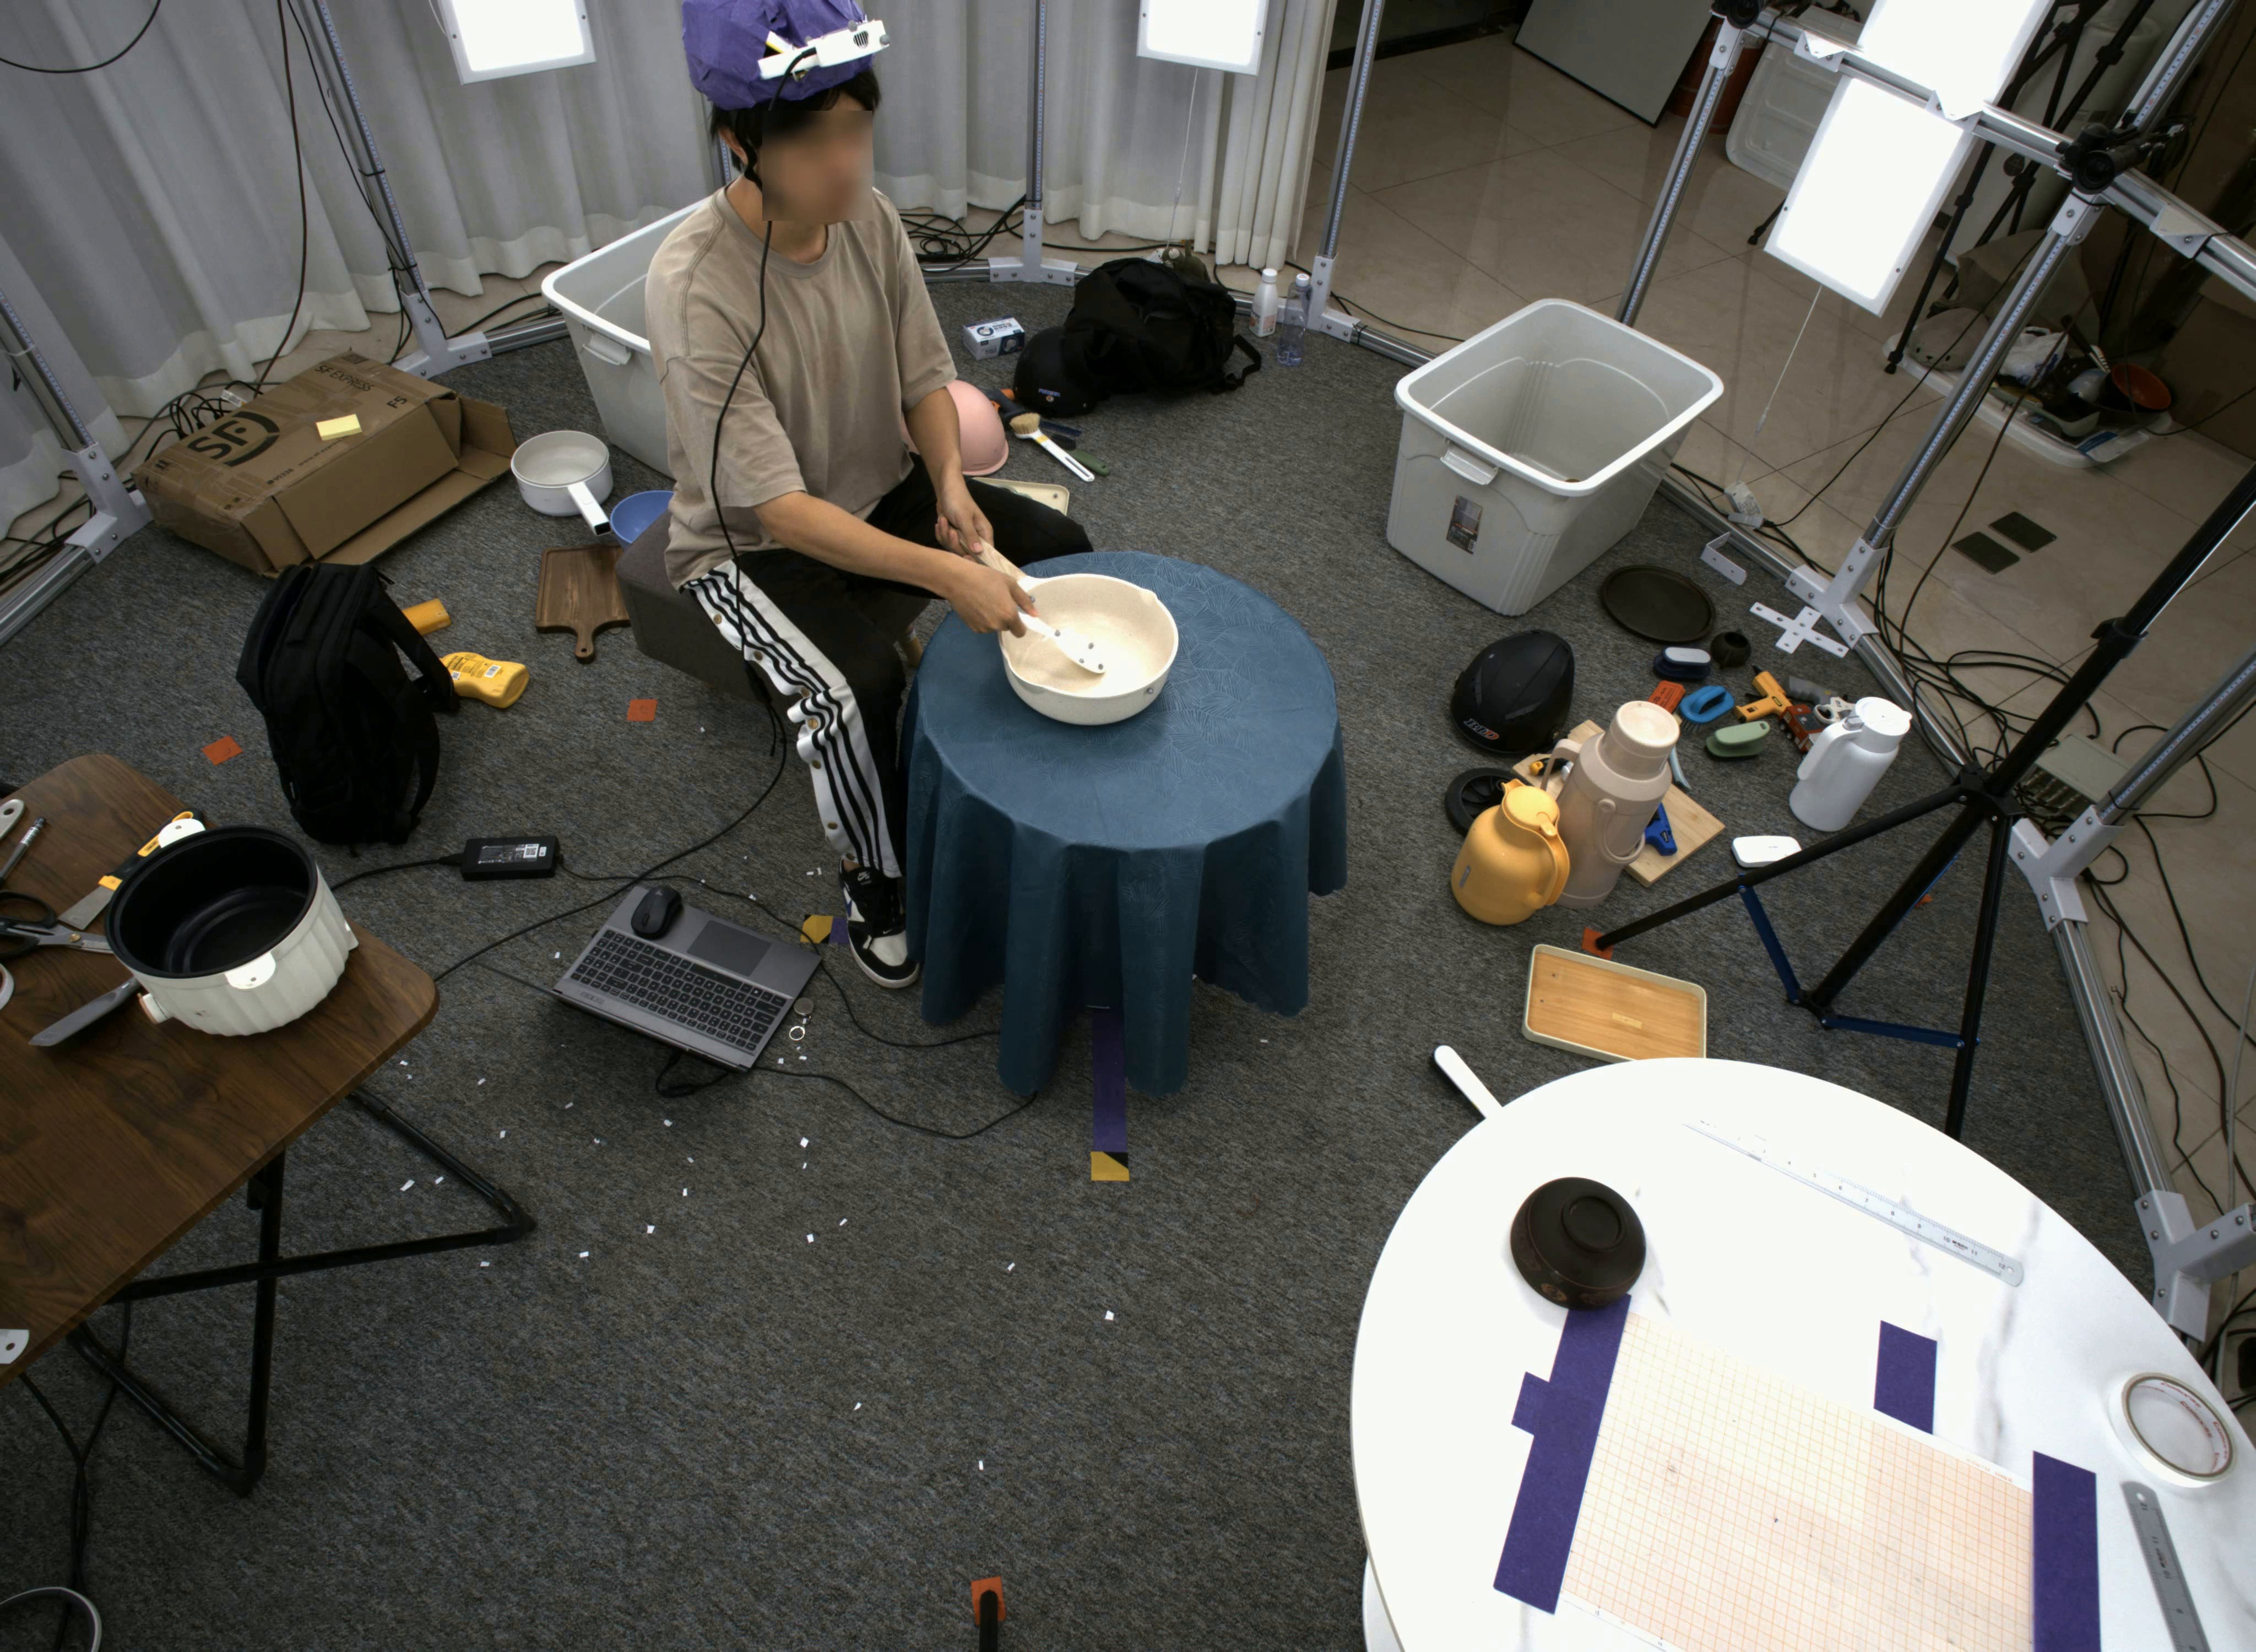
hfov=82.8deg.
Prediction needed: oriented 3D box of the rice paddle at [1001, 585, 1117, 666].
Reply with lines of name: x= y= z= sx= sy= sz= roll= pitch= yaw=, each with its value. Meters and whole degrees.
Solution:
rice paddle: x=-0.088 y=-0.279 z=1.795 sx=0.202 sy=0.029 sz=0.070 roll=24 pitch=39 yaw=-36

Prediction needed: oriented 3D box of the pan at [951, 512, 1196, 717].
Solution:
pan: x=-0.098 y=-0.312 z=1.855 sx=0.441 sy=0.099 sz=0.266 roll=37 pitch=57 yaw=25
